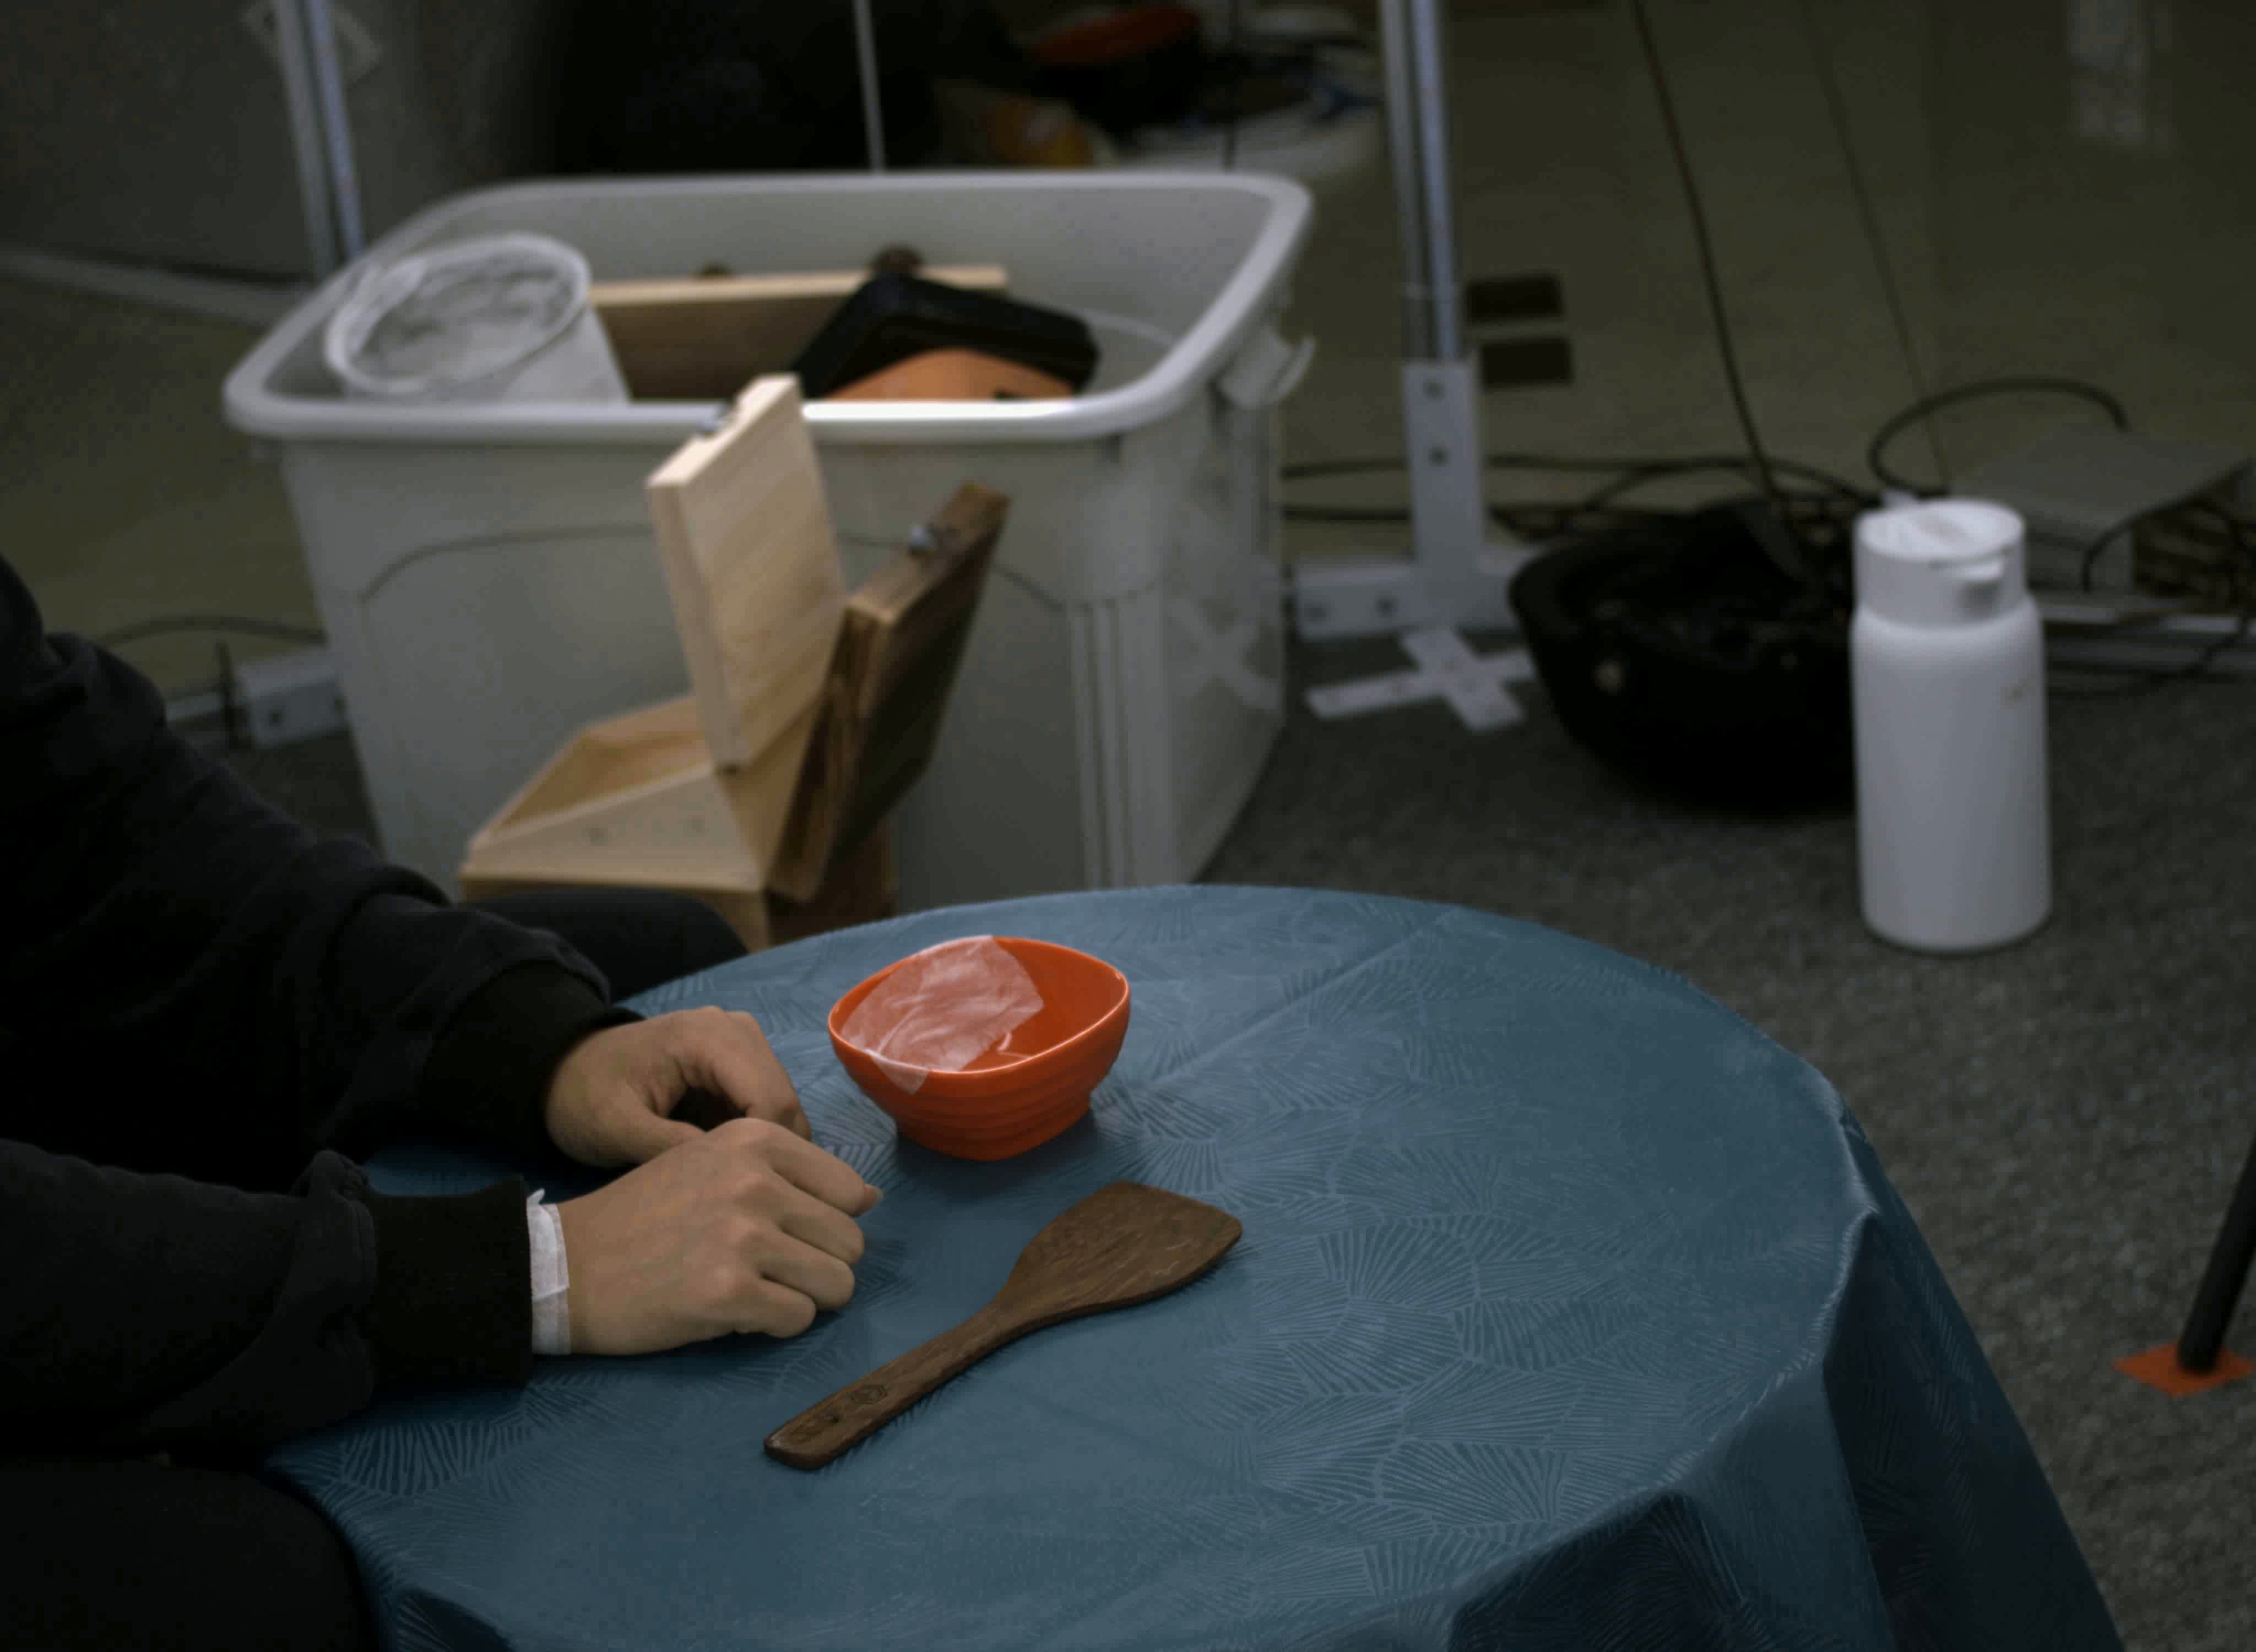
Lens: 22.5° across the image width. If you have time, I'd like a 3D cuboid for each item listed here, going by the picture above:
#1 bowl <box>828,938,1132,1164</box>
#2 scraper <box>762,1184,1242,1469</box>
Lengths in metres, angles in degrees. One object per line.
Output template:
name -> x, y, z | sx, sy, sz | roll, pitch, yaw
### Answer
bowl -> -0.056, 0.092, 2.208 | 0.119, 0.052, 0.117 | -4, 26, 2
scraper -> -0.050, 0.183, 2.061 | 0.075, 0.011, 0.209 | 17, 34, 42
